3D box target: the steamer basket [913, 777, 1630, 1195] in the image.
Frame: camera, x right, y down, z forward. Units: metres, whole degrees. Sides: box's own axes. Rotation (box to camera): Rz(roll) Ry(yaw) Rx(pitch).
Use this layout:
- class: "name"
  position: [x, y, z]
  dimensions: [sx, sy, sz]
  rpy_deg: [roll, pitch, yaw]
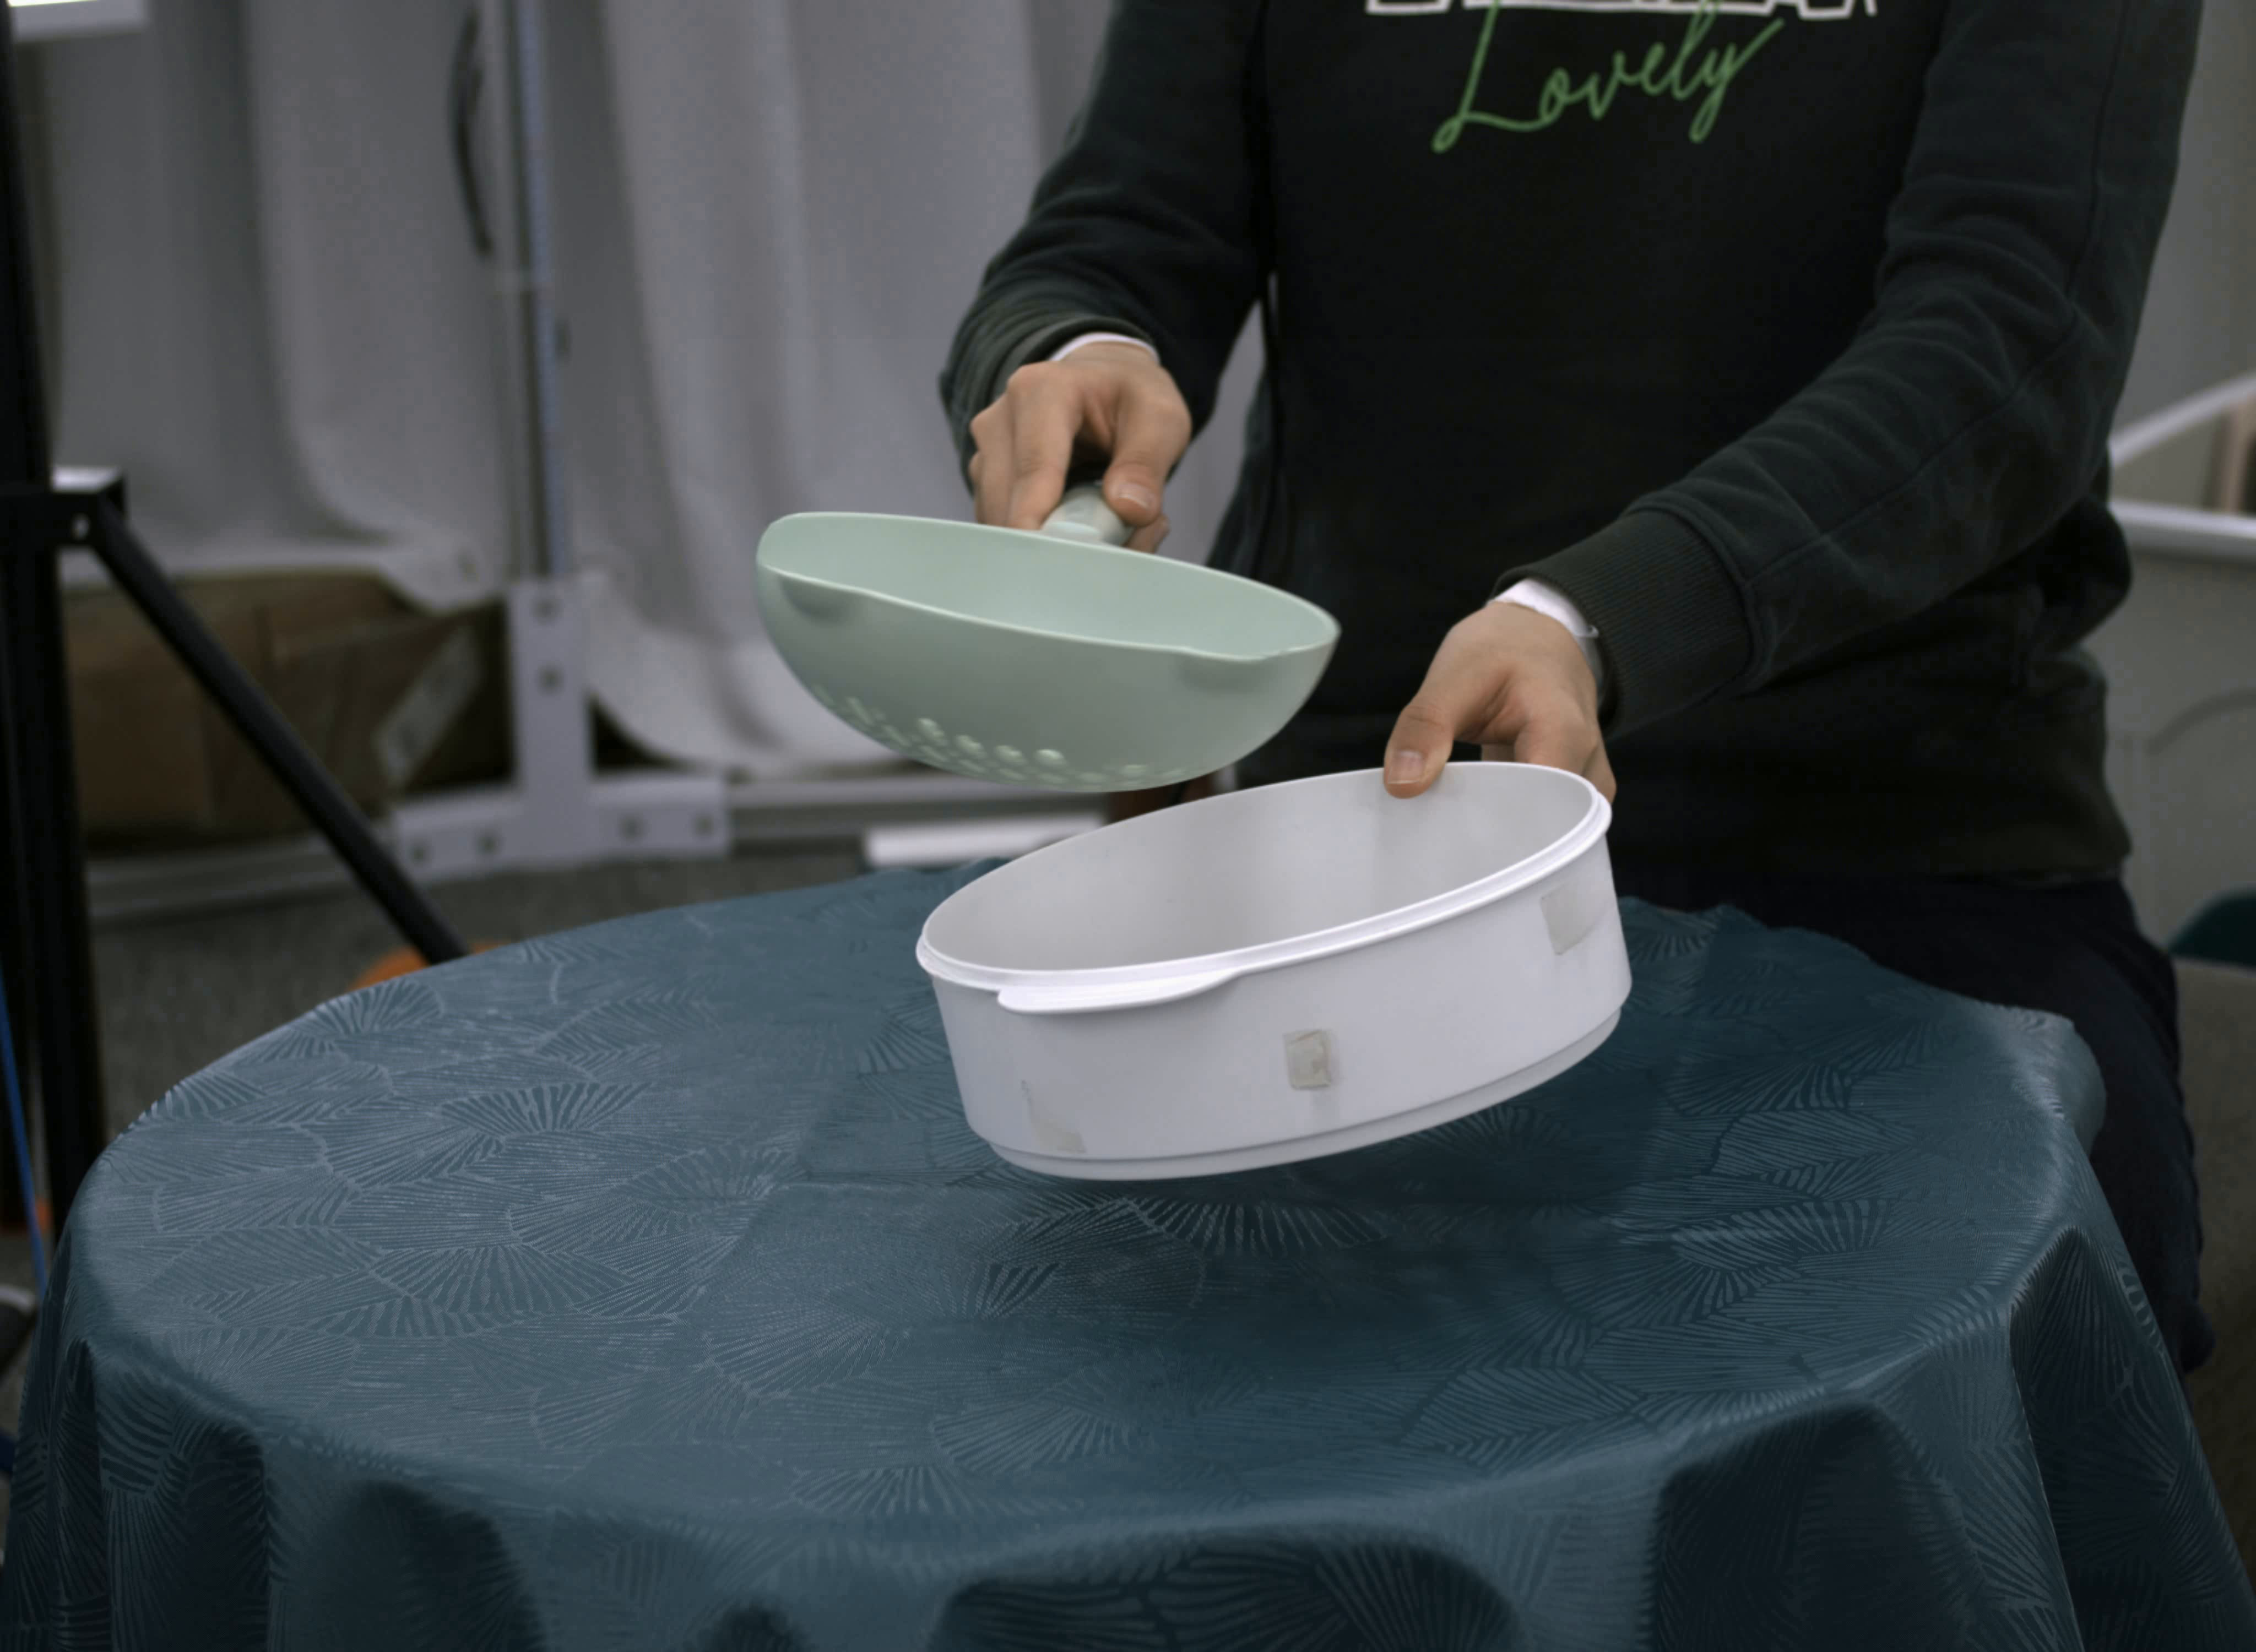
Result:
- class: "steamer basket"
  position: [0.043, 0.045, 1.499]
  dimensions: [0.205, 0.069, 0.227]
  rpy_deg: [-5, 14, 28]

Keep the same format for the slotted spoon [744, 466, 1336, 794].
- class: "slotted spoon"
  position: [-0.019, -0.075, 1.593]
  dimensions: [0.169, 0.075, 0.358]
  rpy_deg: [11, 19, 3]
